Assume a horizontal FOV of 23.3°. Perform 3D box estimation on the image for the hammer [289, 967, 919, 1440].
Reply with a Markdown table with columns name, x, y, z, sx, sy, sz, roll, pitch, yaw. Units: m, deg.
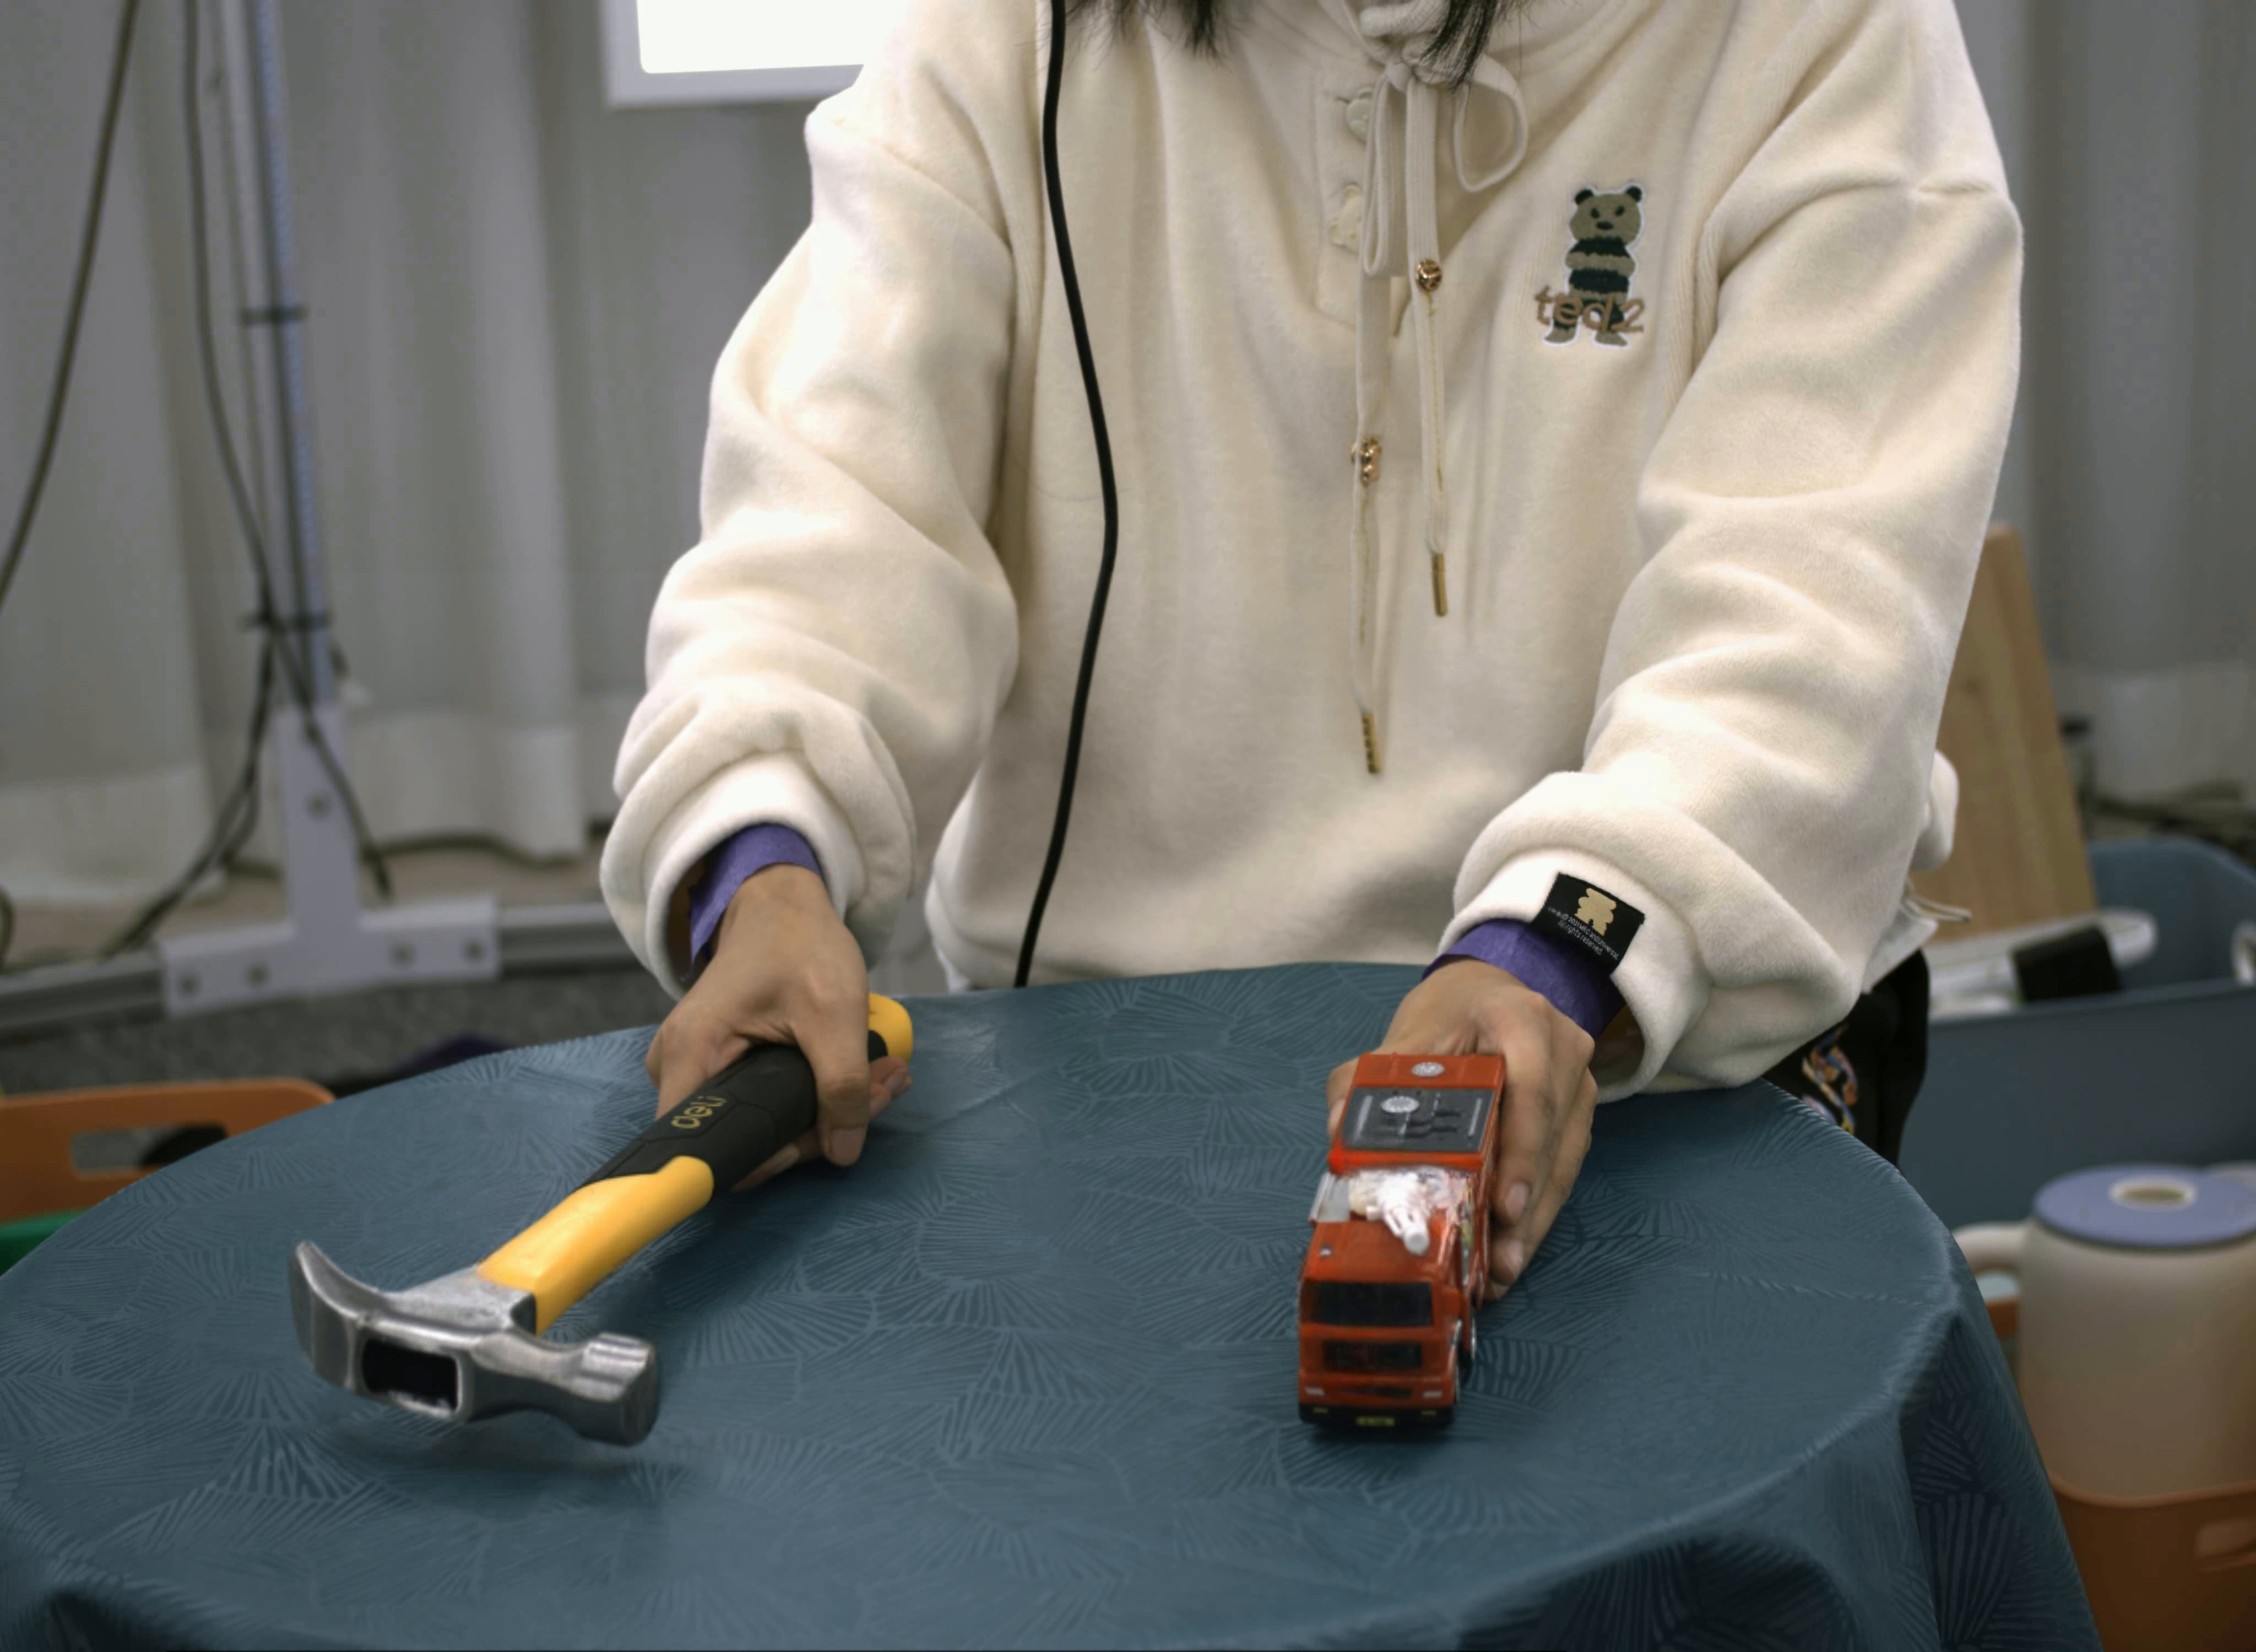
| name | x | y | z | sx | sy | sz | roll | pitch | yaw |
| --- | --- | --- | --- | --- | --- | --- | --- | --- | --- |
| hammer | -0.141 | 0.103 | 1.656 | 0.131 | 0.032 | 0.339 | 8 | 18 | 18 |

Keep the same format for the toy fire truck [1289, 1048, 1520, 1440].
| name | x | y | z | sx | sy | sz | roll | pitch | yaw |
| --- | --- | --- | --- | --- | --- | --- | --- | --- | --- |
| toy fire truck | 0.081 | 0.117 | 1.557 | 0.054 | 0.070 | 0.169 | 1 | 19 | 9 |
